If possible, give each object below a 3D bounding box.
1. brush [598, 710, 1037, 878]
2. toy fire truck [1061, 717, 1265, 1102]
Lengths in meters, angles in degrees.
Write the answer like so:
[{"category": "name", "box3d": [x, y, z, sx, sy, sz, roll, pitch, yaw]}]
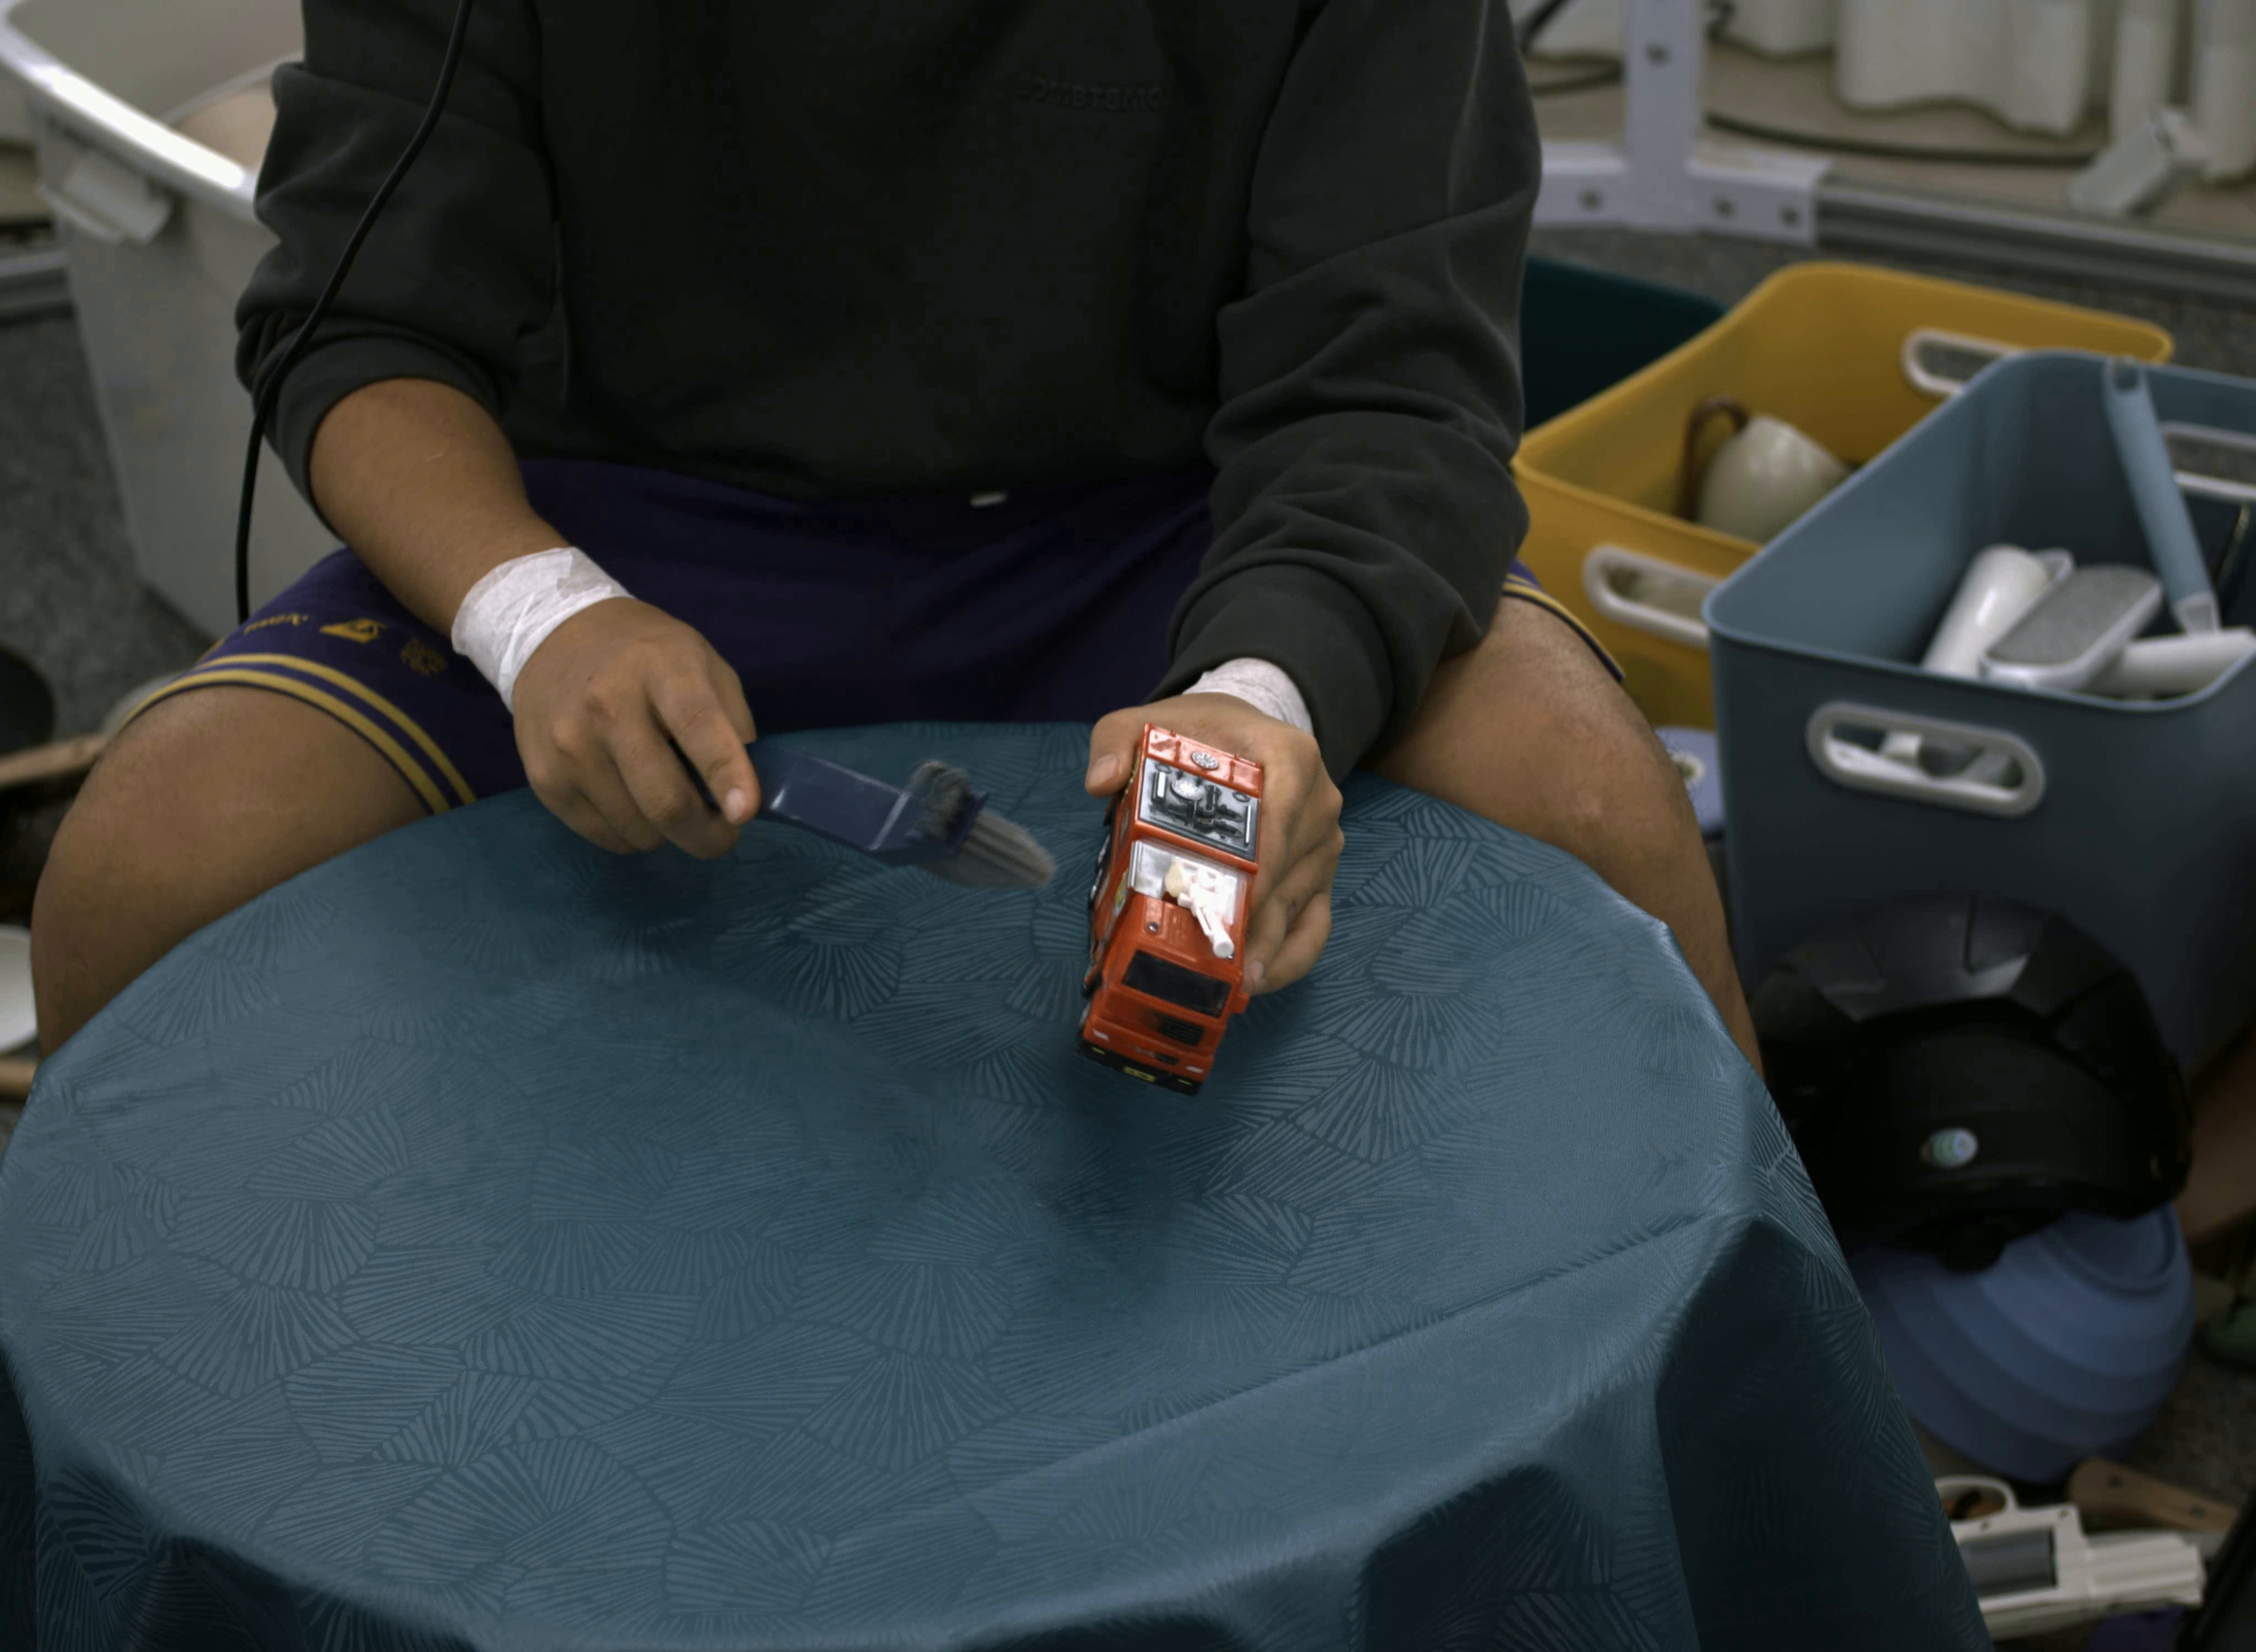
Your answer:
[{"category": "brush", "box3d": [-0.124, -0.018, 1.966, 0.095, 0.034, 0.272, 31, -11, -40]}, {"category": "toy fire truck", "box3d": [0.014, 0.026, 1.871, 0.054, 0.069, 0.170, 21, 26, -8]}]
